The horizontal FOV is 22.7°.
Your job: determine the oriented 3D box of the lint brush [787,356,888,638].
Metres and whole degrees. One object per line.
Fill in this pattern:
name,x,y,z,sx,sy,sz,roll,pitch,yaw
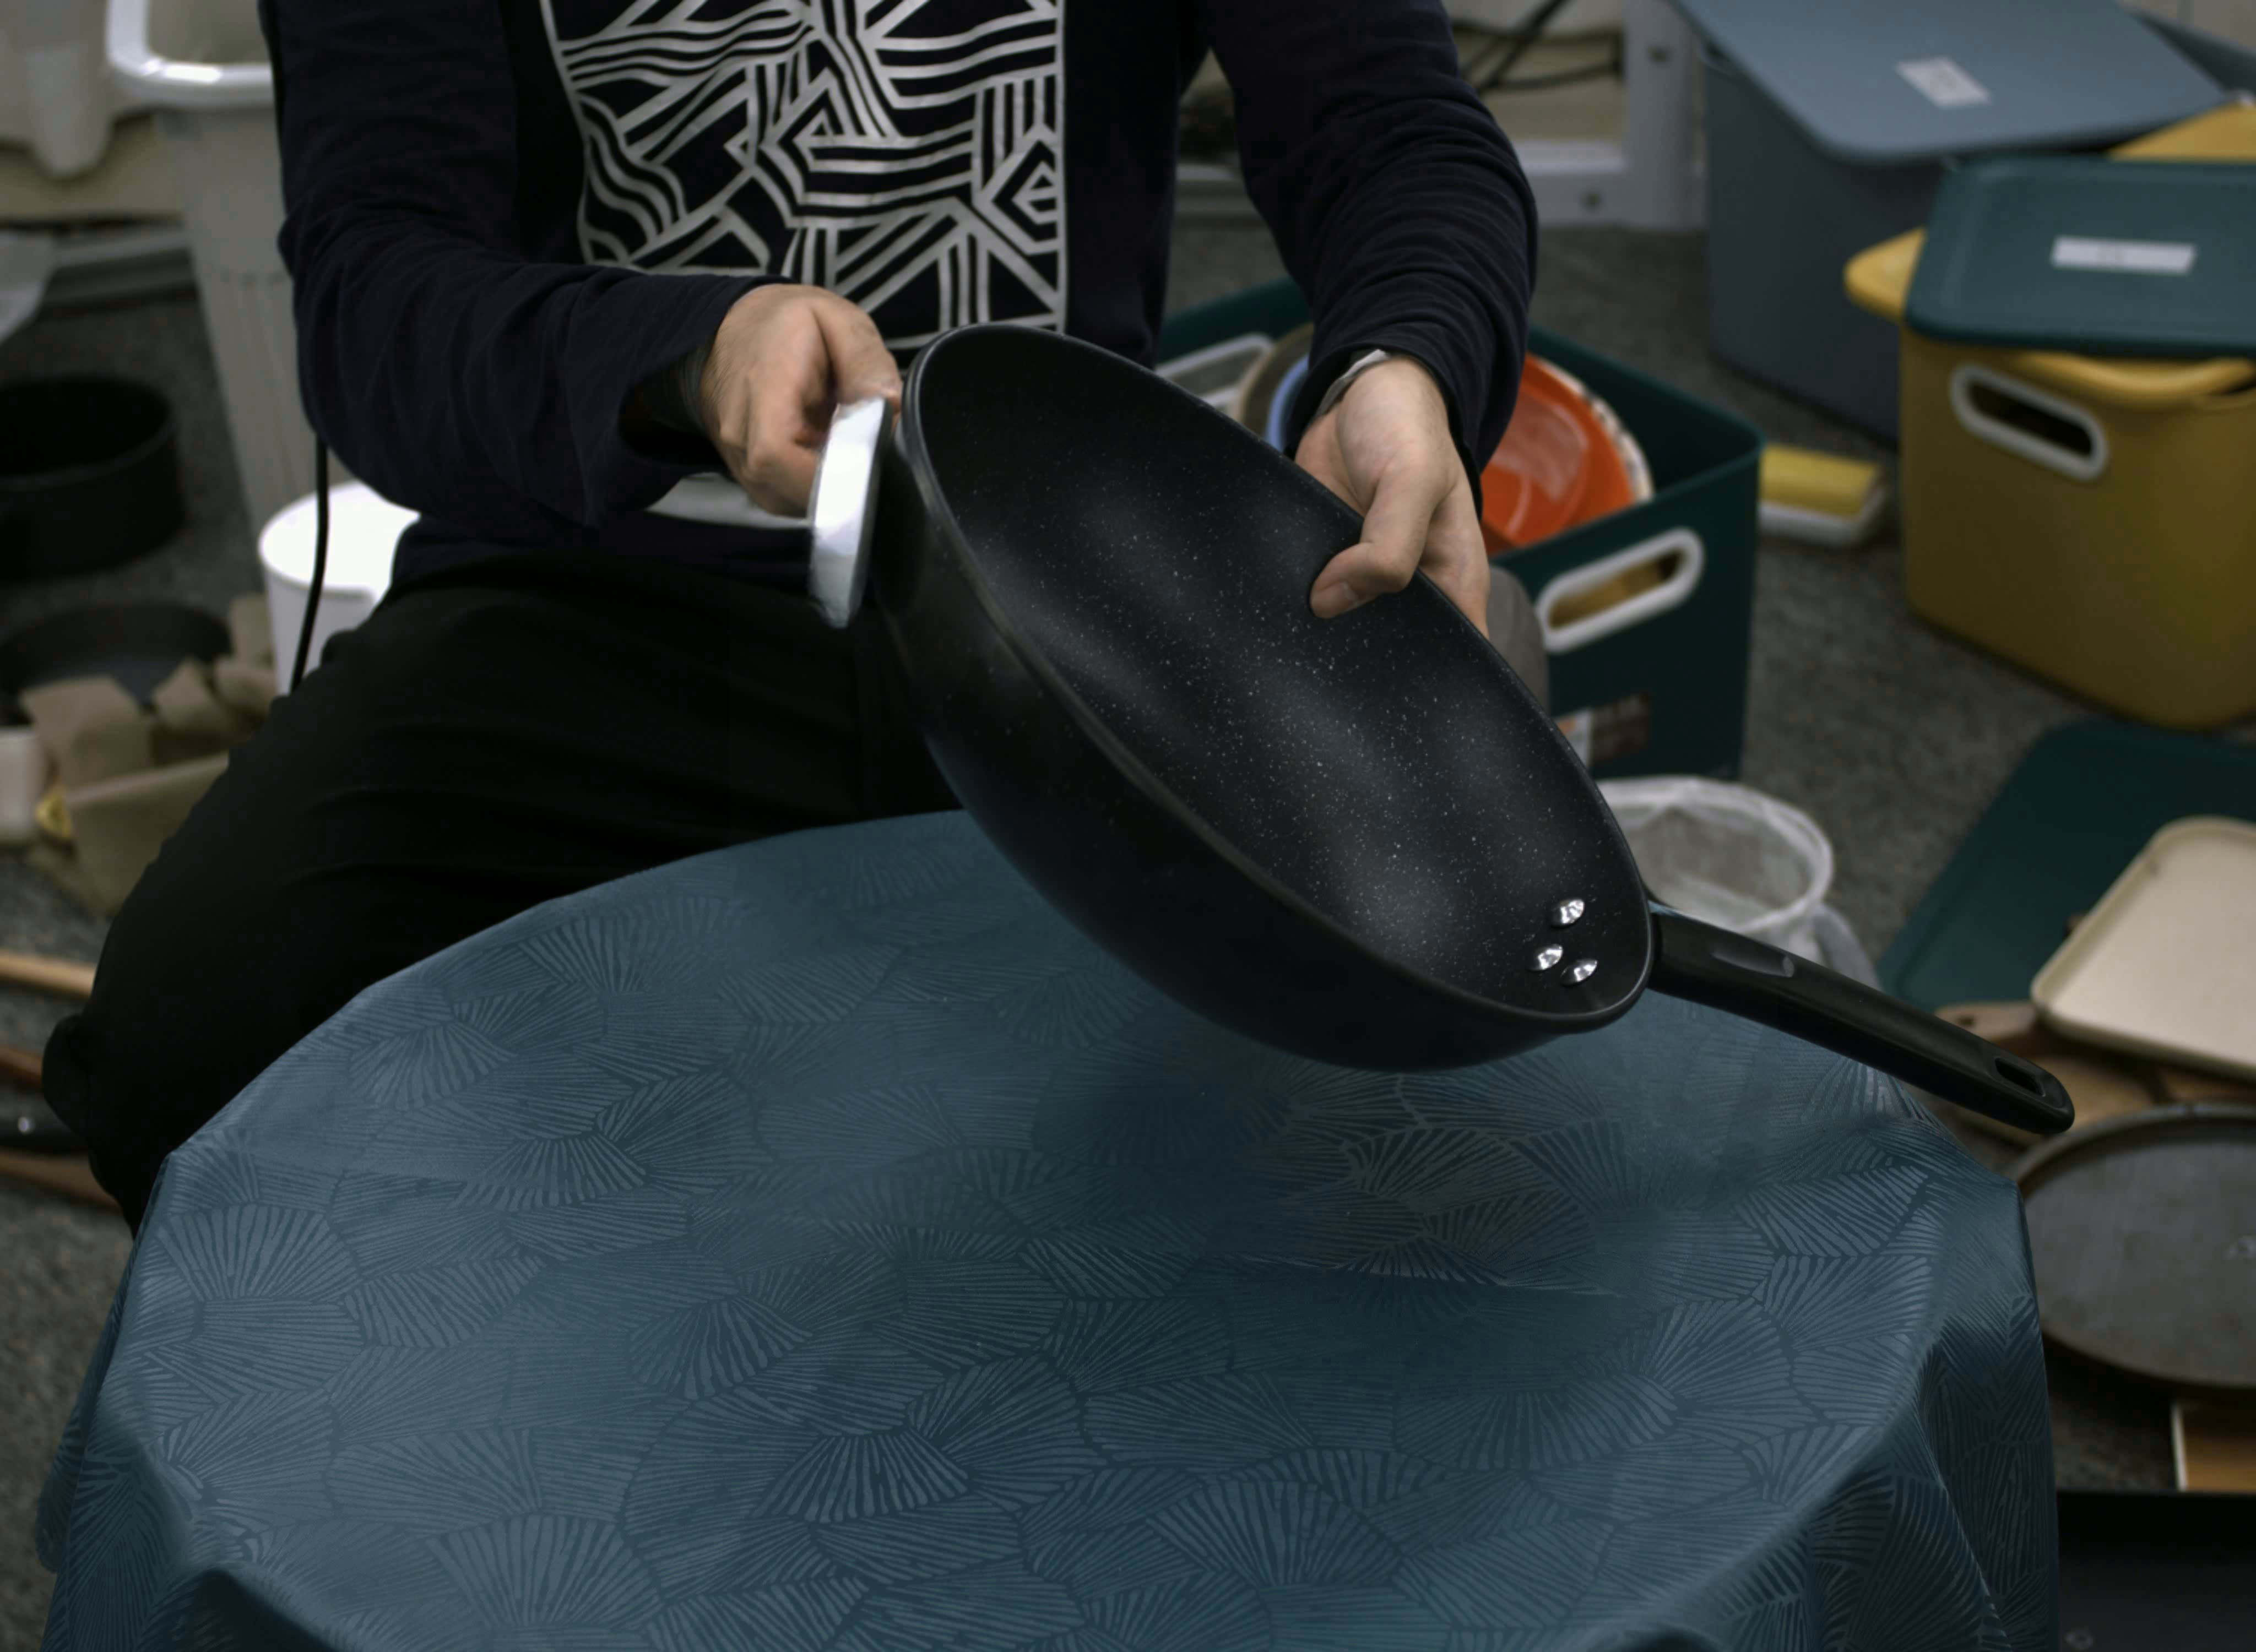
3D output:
lint brush,-0.094,-0.119,1.851,0.021,0.060,0.311,3,14,-1

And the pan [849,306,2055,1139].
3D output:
pan,0.092,0.008,1.829,0.475,0.110,0.315,33,25,-20
